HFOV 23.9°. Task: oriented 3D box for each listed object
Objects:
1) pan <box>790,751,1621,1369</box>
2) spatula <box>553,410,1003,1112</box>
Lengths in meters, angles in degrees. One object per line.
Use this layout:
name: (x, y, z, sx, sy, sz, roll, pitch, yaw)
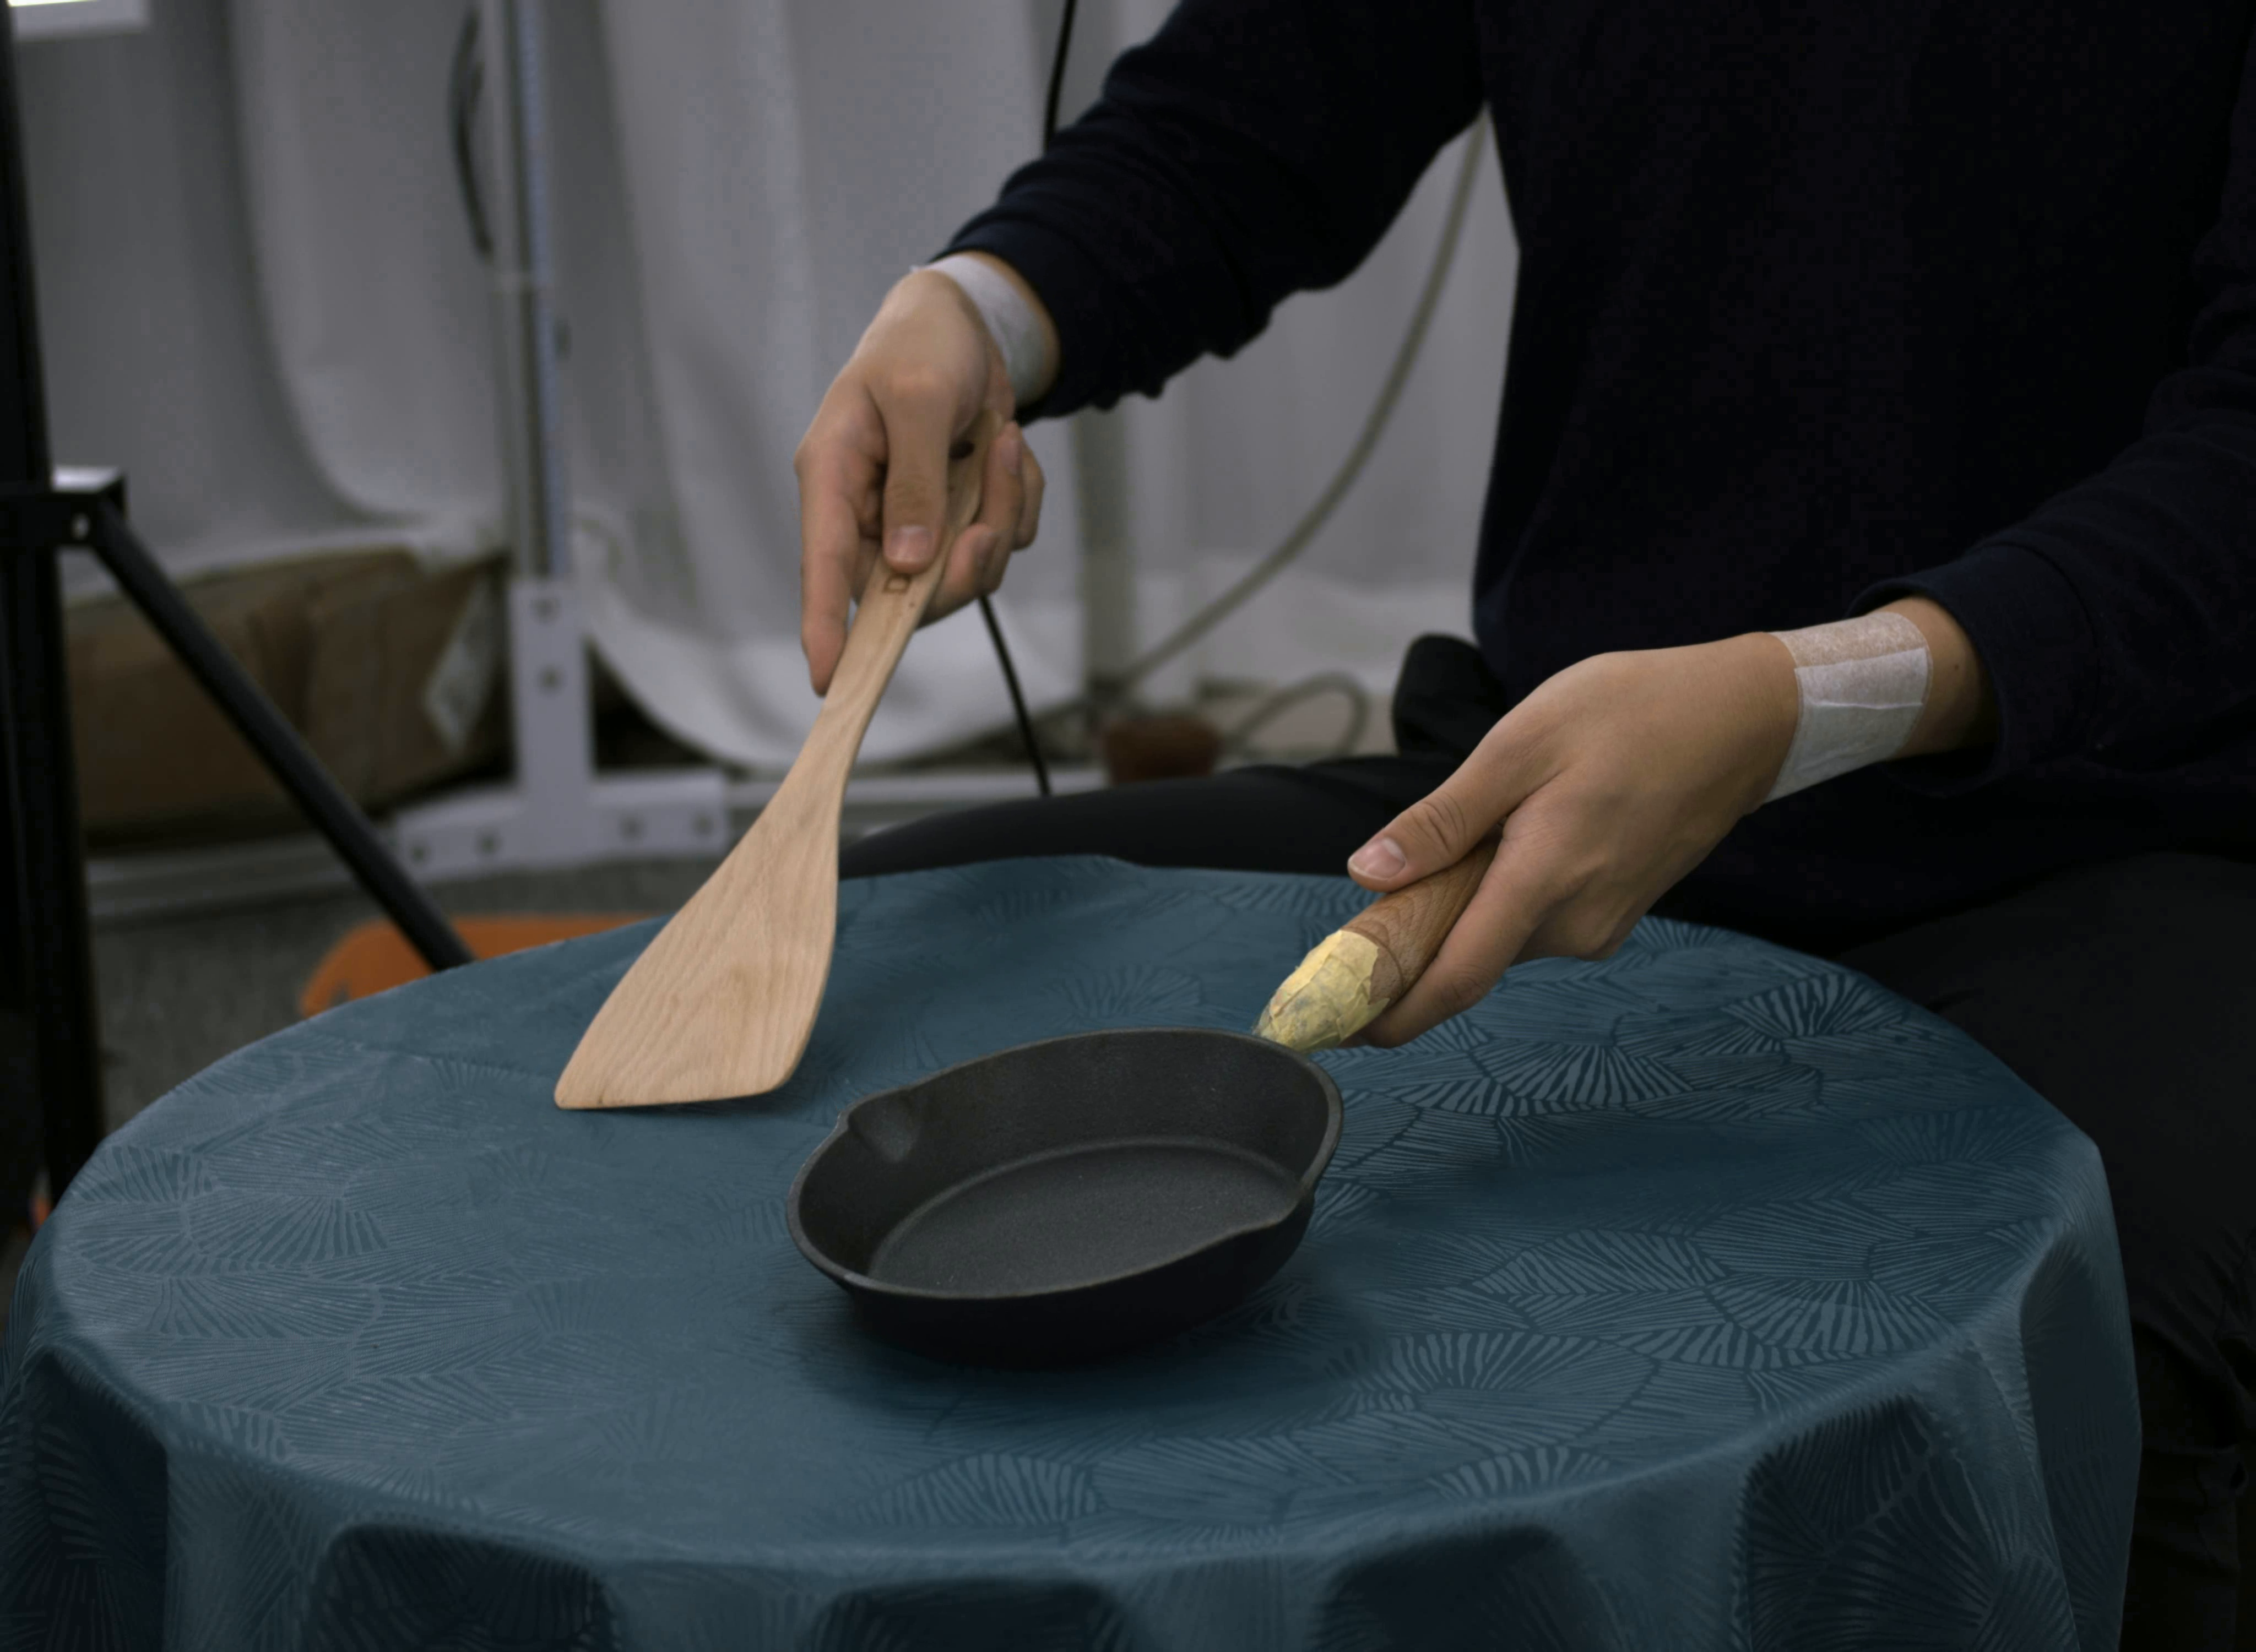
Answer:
pan: (0.042, 0.064, 1.516, 0.318, 0.049, 0.173, -32, 29, -35)
spatula: (-0.098, -0.026, 1.747, 0.081, 0.016, 0.328, 1, 48, 24)
